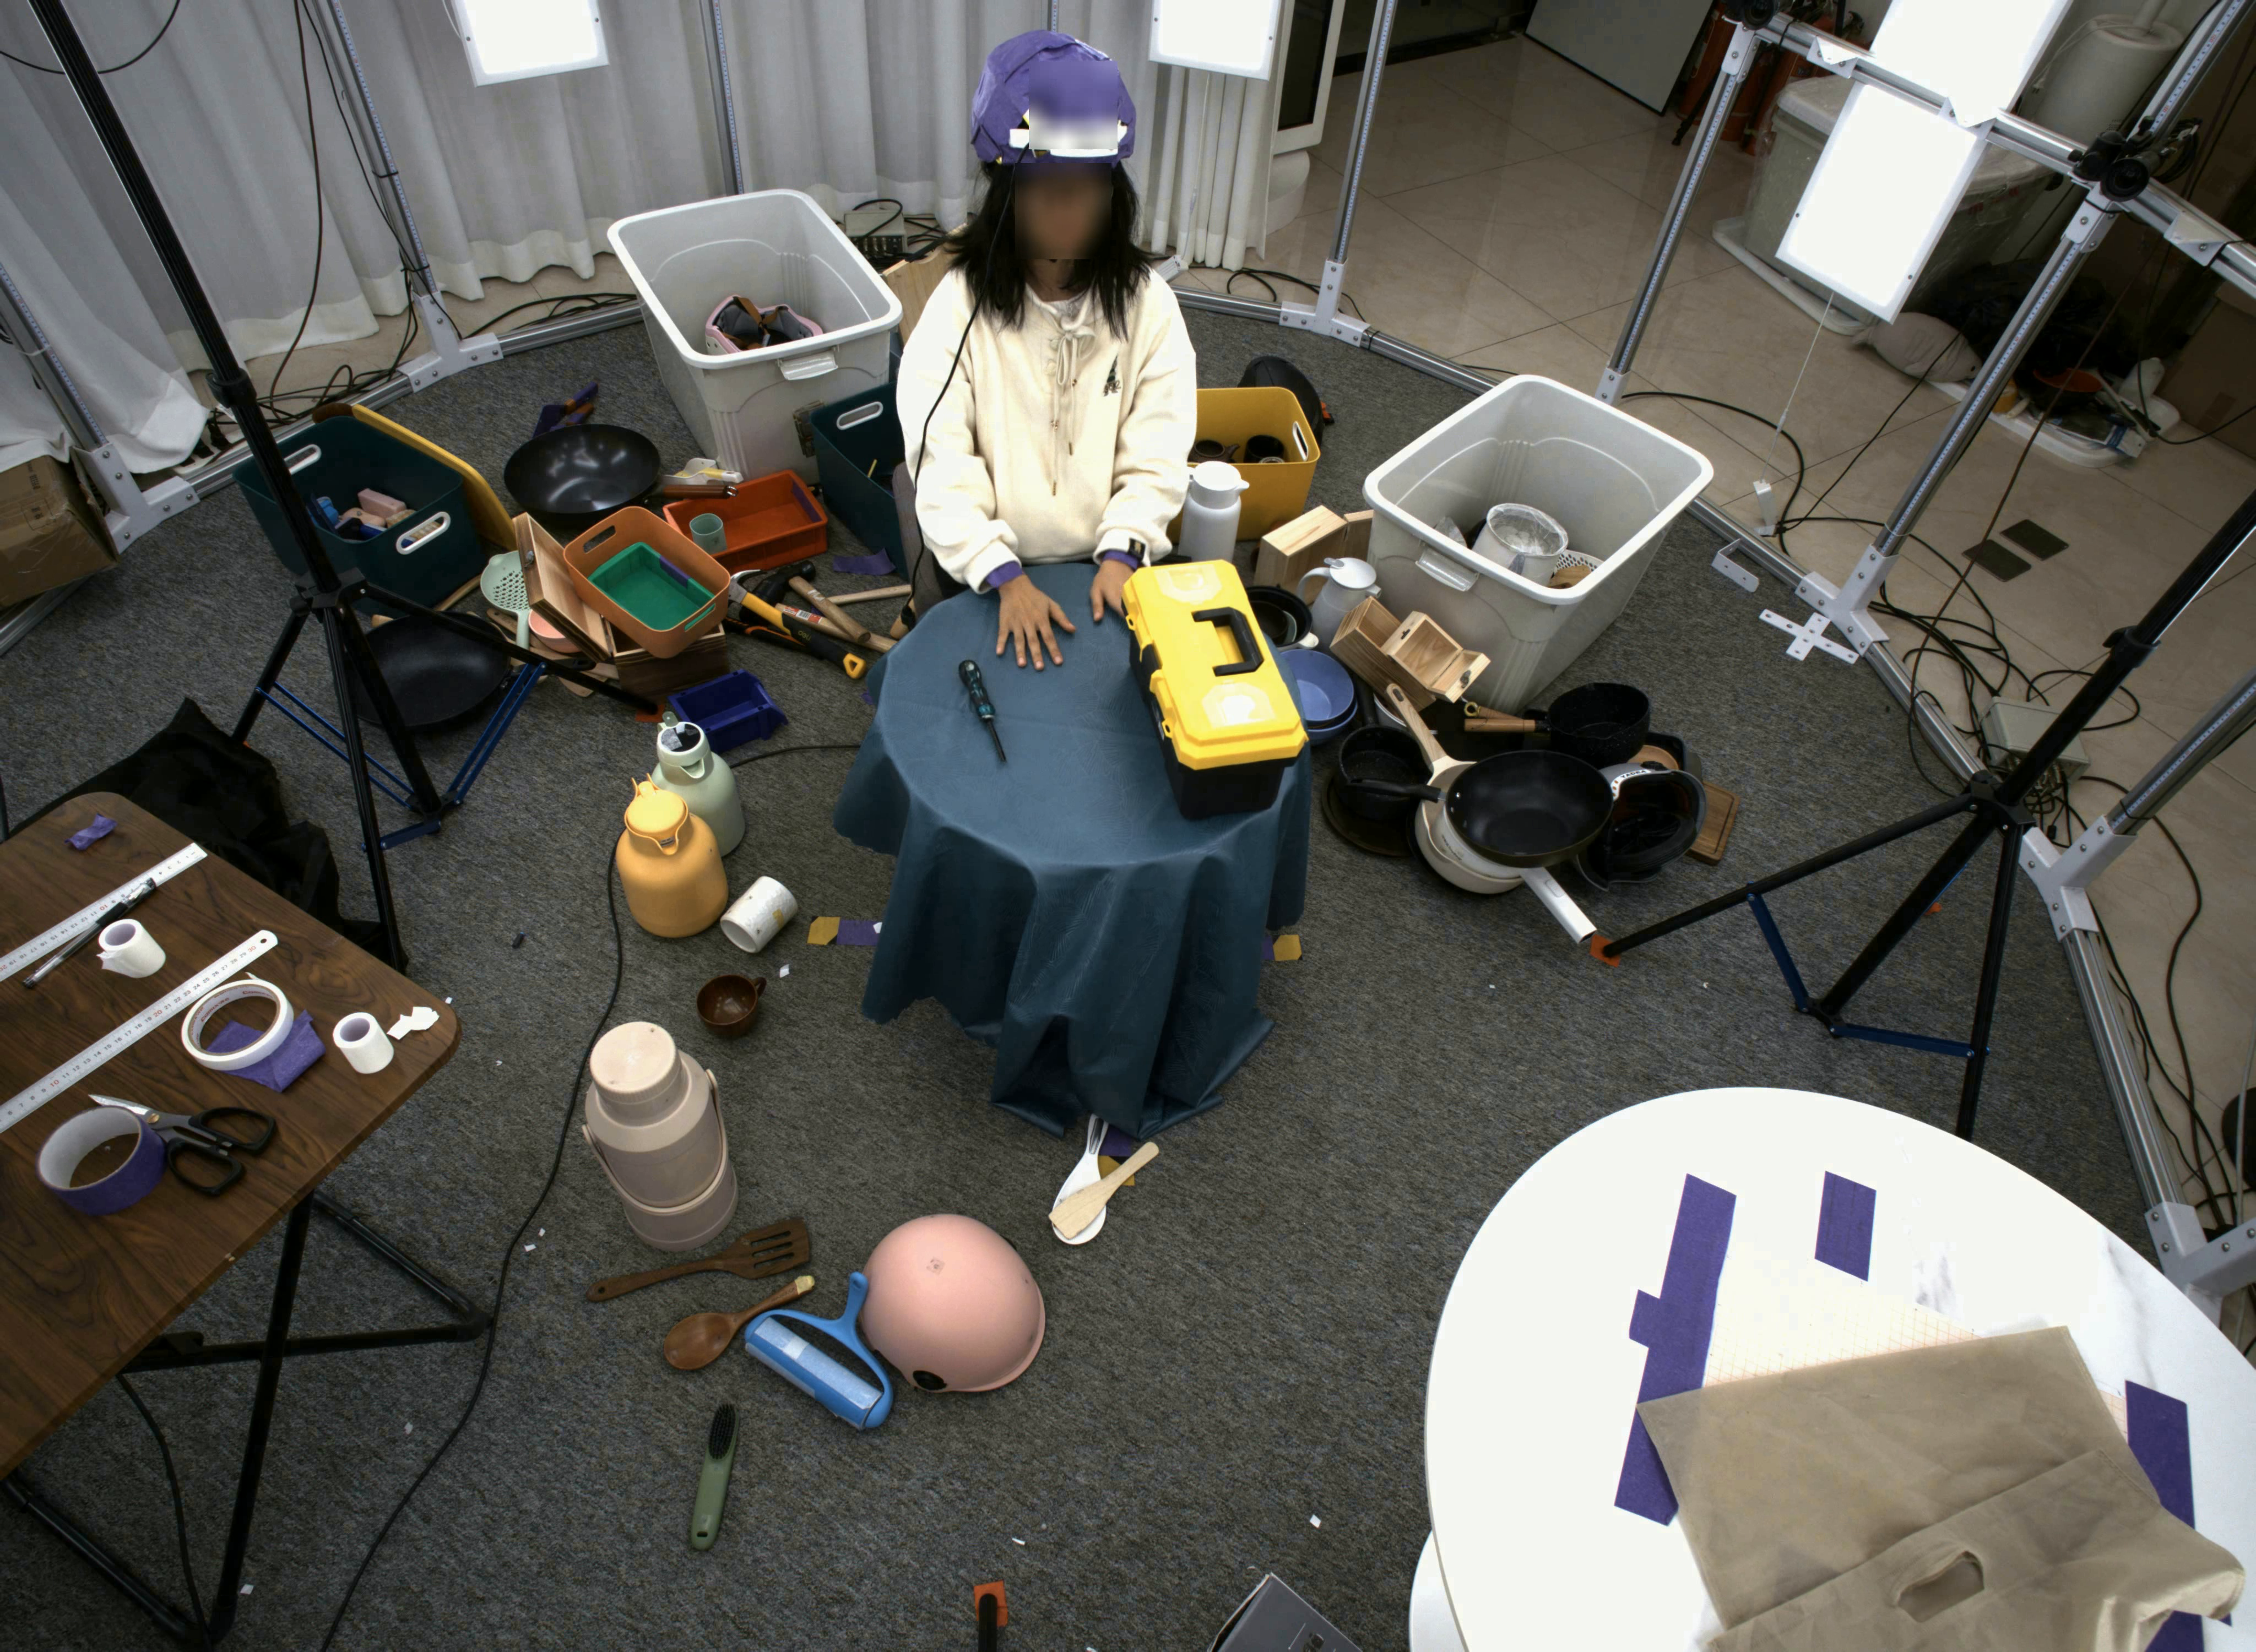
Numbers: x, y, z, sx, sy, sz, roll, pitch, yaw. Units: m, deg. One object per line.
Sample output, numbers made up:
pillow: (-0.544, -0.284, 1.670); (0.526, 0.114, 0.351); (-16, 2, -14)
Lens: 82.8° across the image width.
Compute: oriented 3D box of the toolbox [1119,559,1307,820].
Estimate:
toolbox: (0.104, -0.186, 1.726); (0.181, 0.168, 0.360); (-7, 50, -10)

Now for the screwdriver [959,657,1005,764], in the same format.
screwdriver: (-0.199, -0.159, 1.781); (0.034, 0.033, 0.194); (-13, 56, -15)
